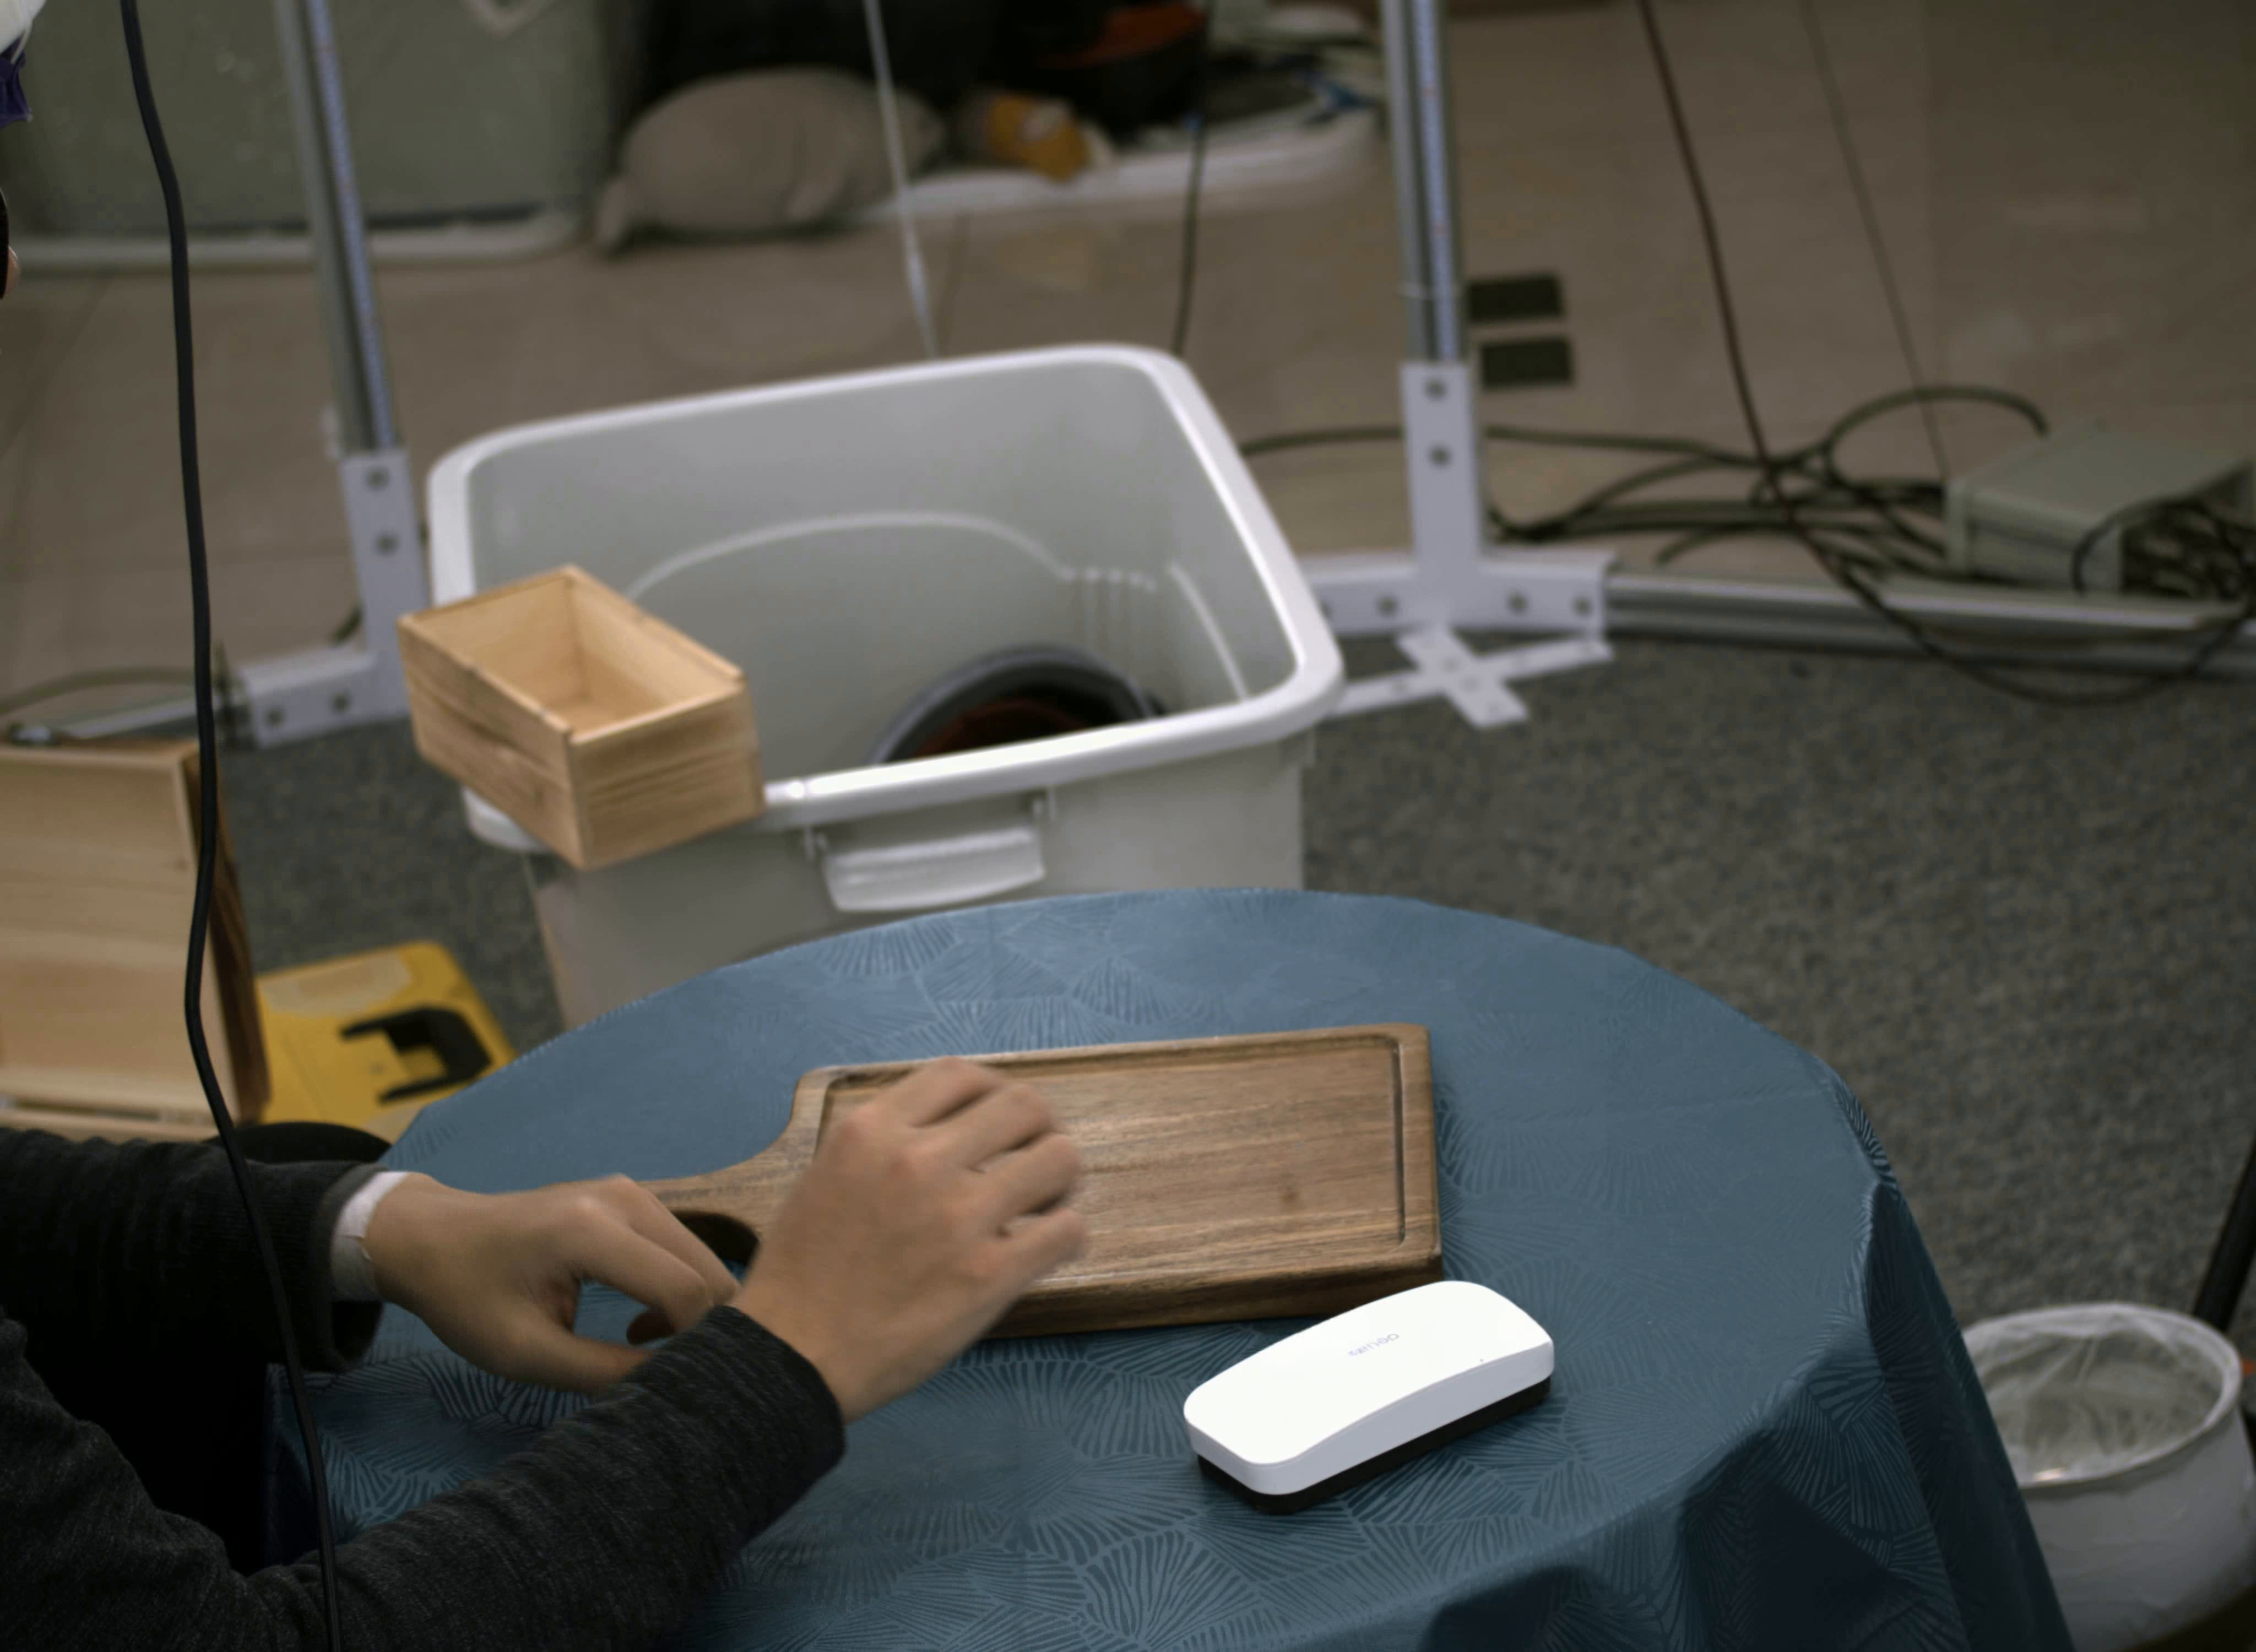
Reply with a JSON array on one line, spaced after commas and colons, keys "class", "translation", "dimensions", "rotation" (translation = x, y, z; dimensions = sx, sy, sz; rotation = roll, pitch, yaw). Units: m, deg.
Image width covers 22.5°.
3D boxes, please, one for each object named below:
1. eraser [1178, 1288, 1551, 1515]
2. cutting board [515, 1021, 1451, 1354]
[{"class": "eraser", "translation": [0.082, 0.196, 1.969], "dimensions": [0.130, 0.035, 0.063], "rotation": [-19, 29, -27]}, {"class": "cutting board", "translation": [-0.057, 0.138, 2.139], "dimensions": [0.351, 0.023, 0.198], "rotation": [-5, 25, 4]}]
